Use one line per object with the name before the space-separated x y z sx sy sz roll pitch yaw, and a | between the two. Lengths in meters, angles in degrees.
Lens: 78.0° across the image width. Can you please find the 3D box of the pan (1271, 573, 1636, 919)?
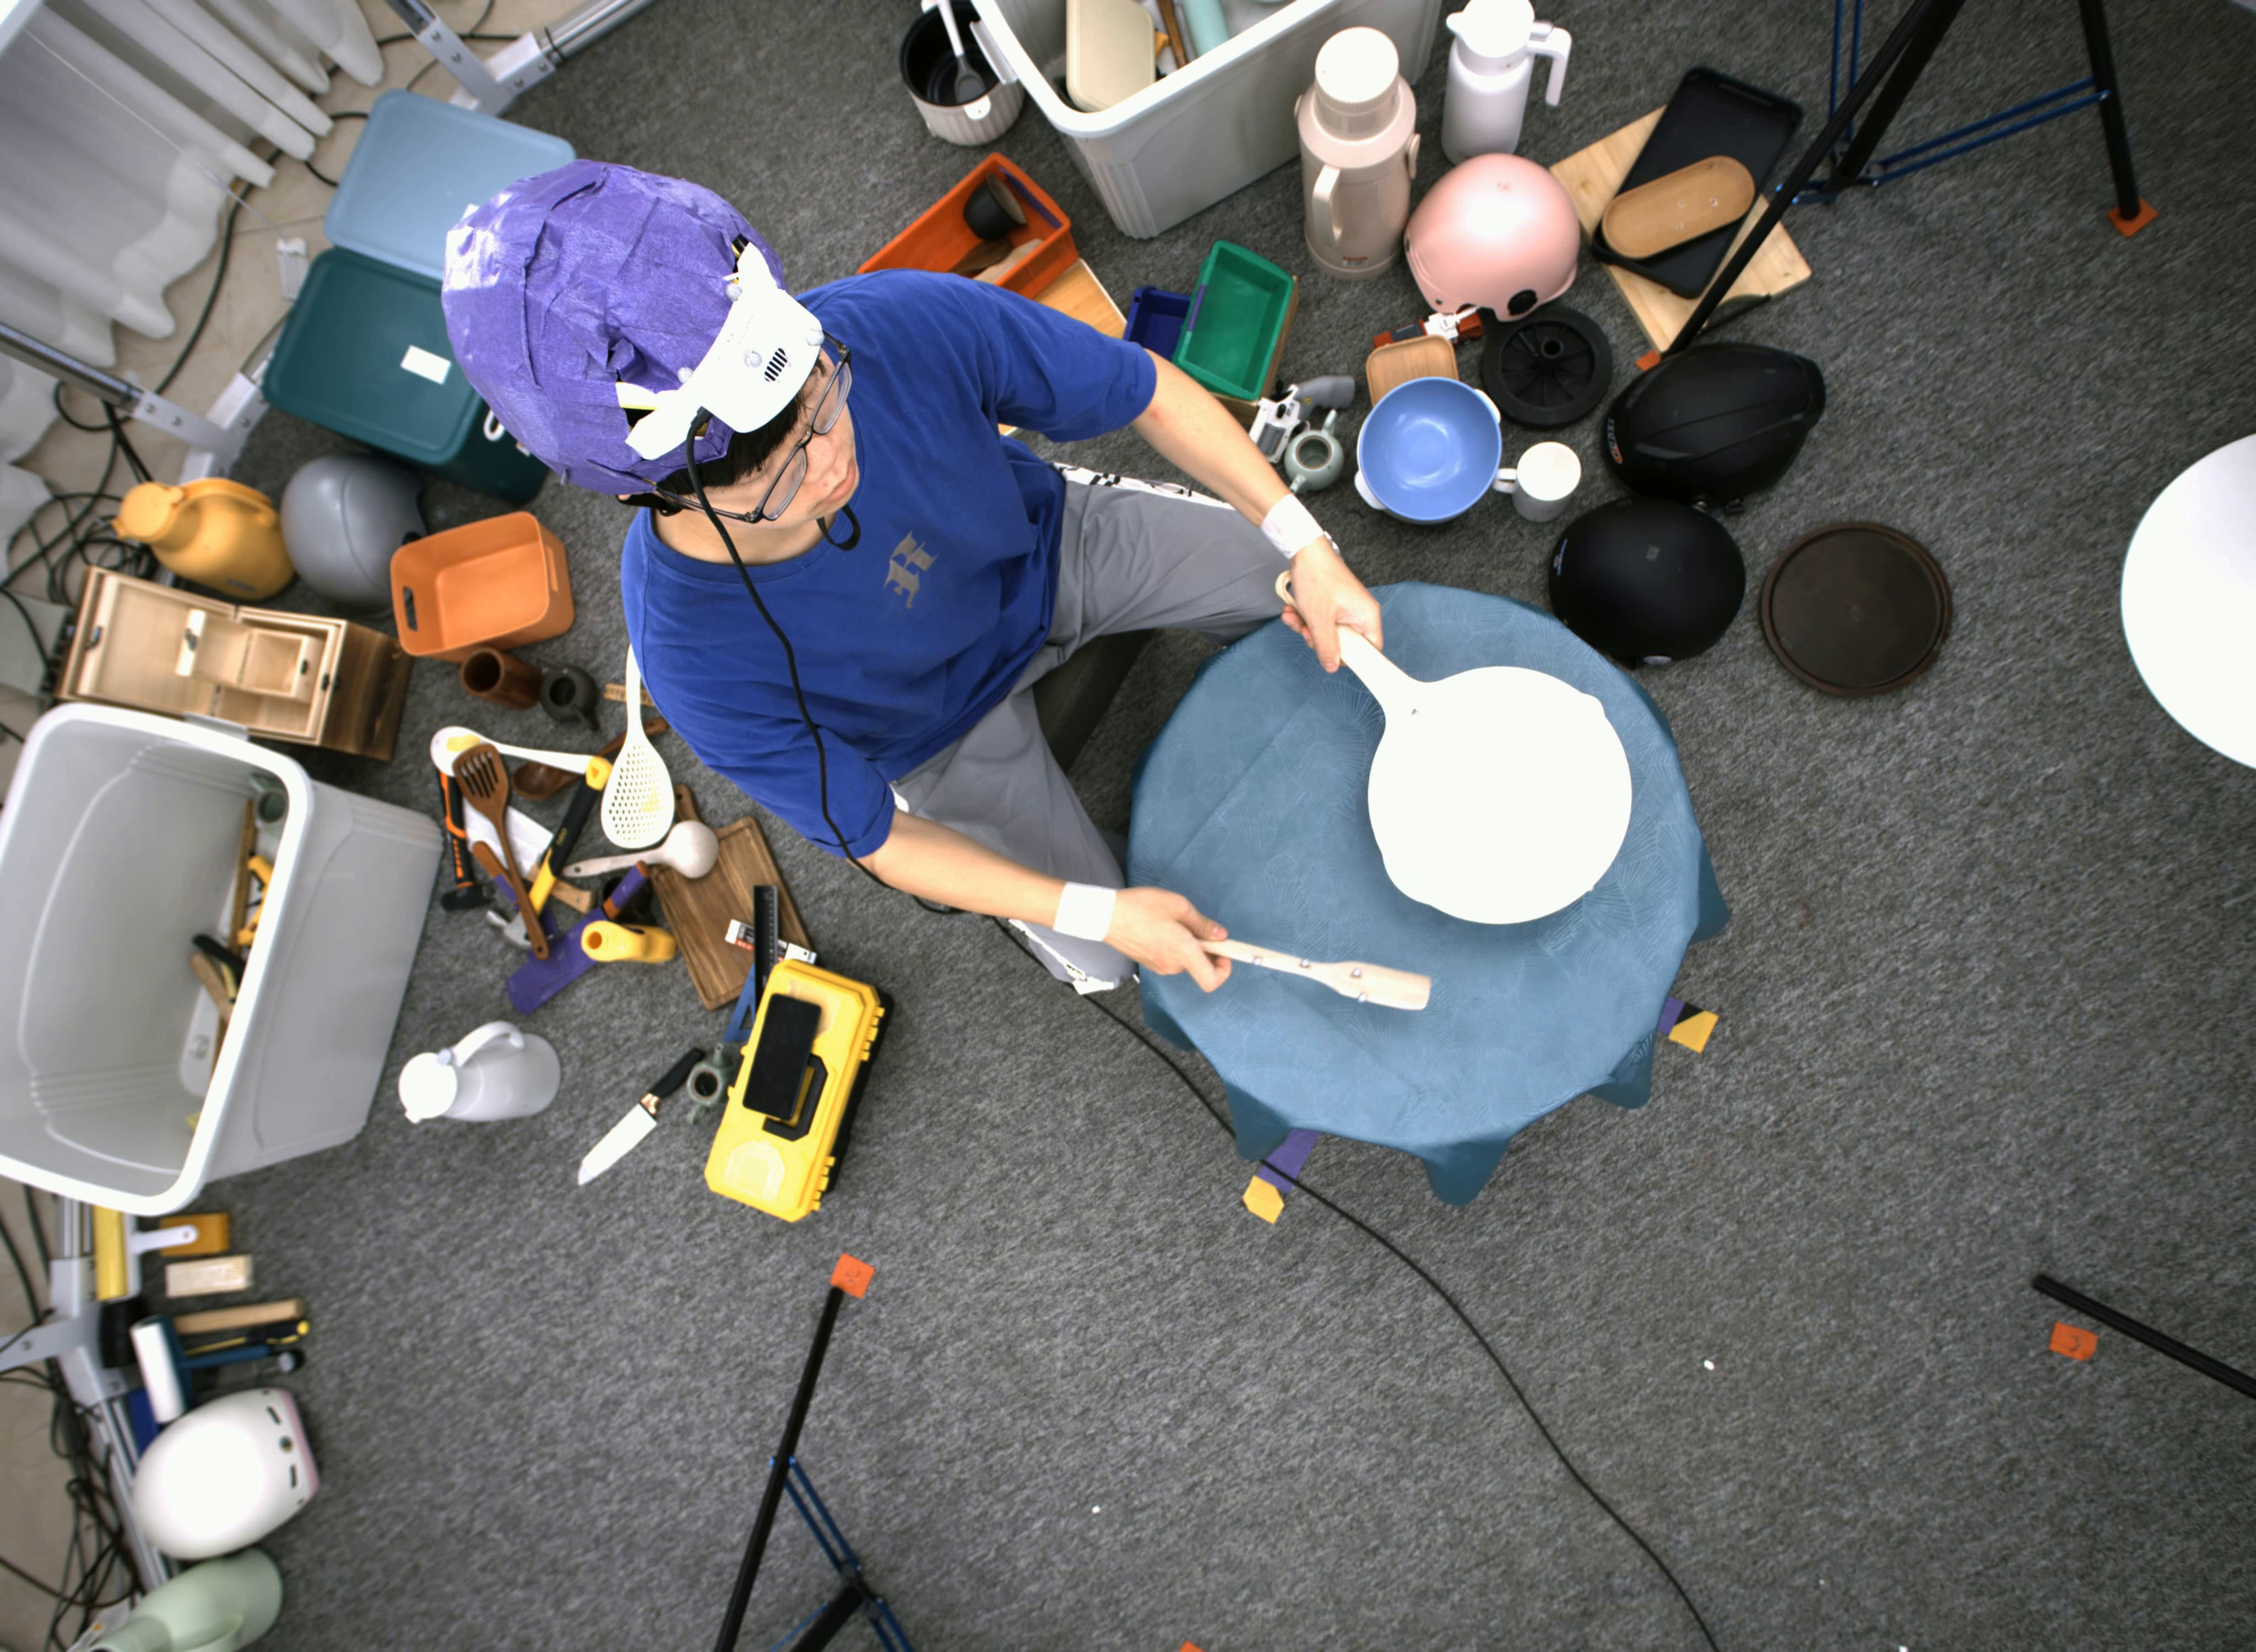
pan | 0.313 -0.101 1.390 0.432 0.101 0.266 47 105 12

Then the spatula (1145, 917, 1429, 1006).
spatula | 0.158 0.134 1.408 0.293 0.071 0.011 13 113 11
